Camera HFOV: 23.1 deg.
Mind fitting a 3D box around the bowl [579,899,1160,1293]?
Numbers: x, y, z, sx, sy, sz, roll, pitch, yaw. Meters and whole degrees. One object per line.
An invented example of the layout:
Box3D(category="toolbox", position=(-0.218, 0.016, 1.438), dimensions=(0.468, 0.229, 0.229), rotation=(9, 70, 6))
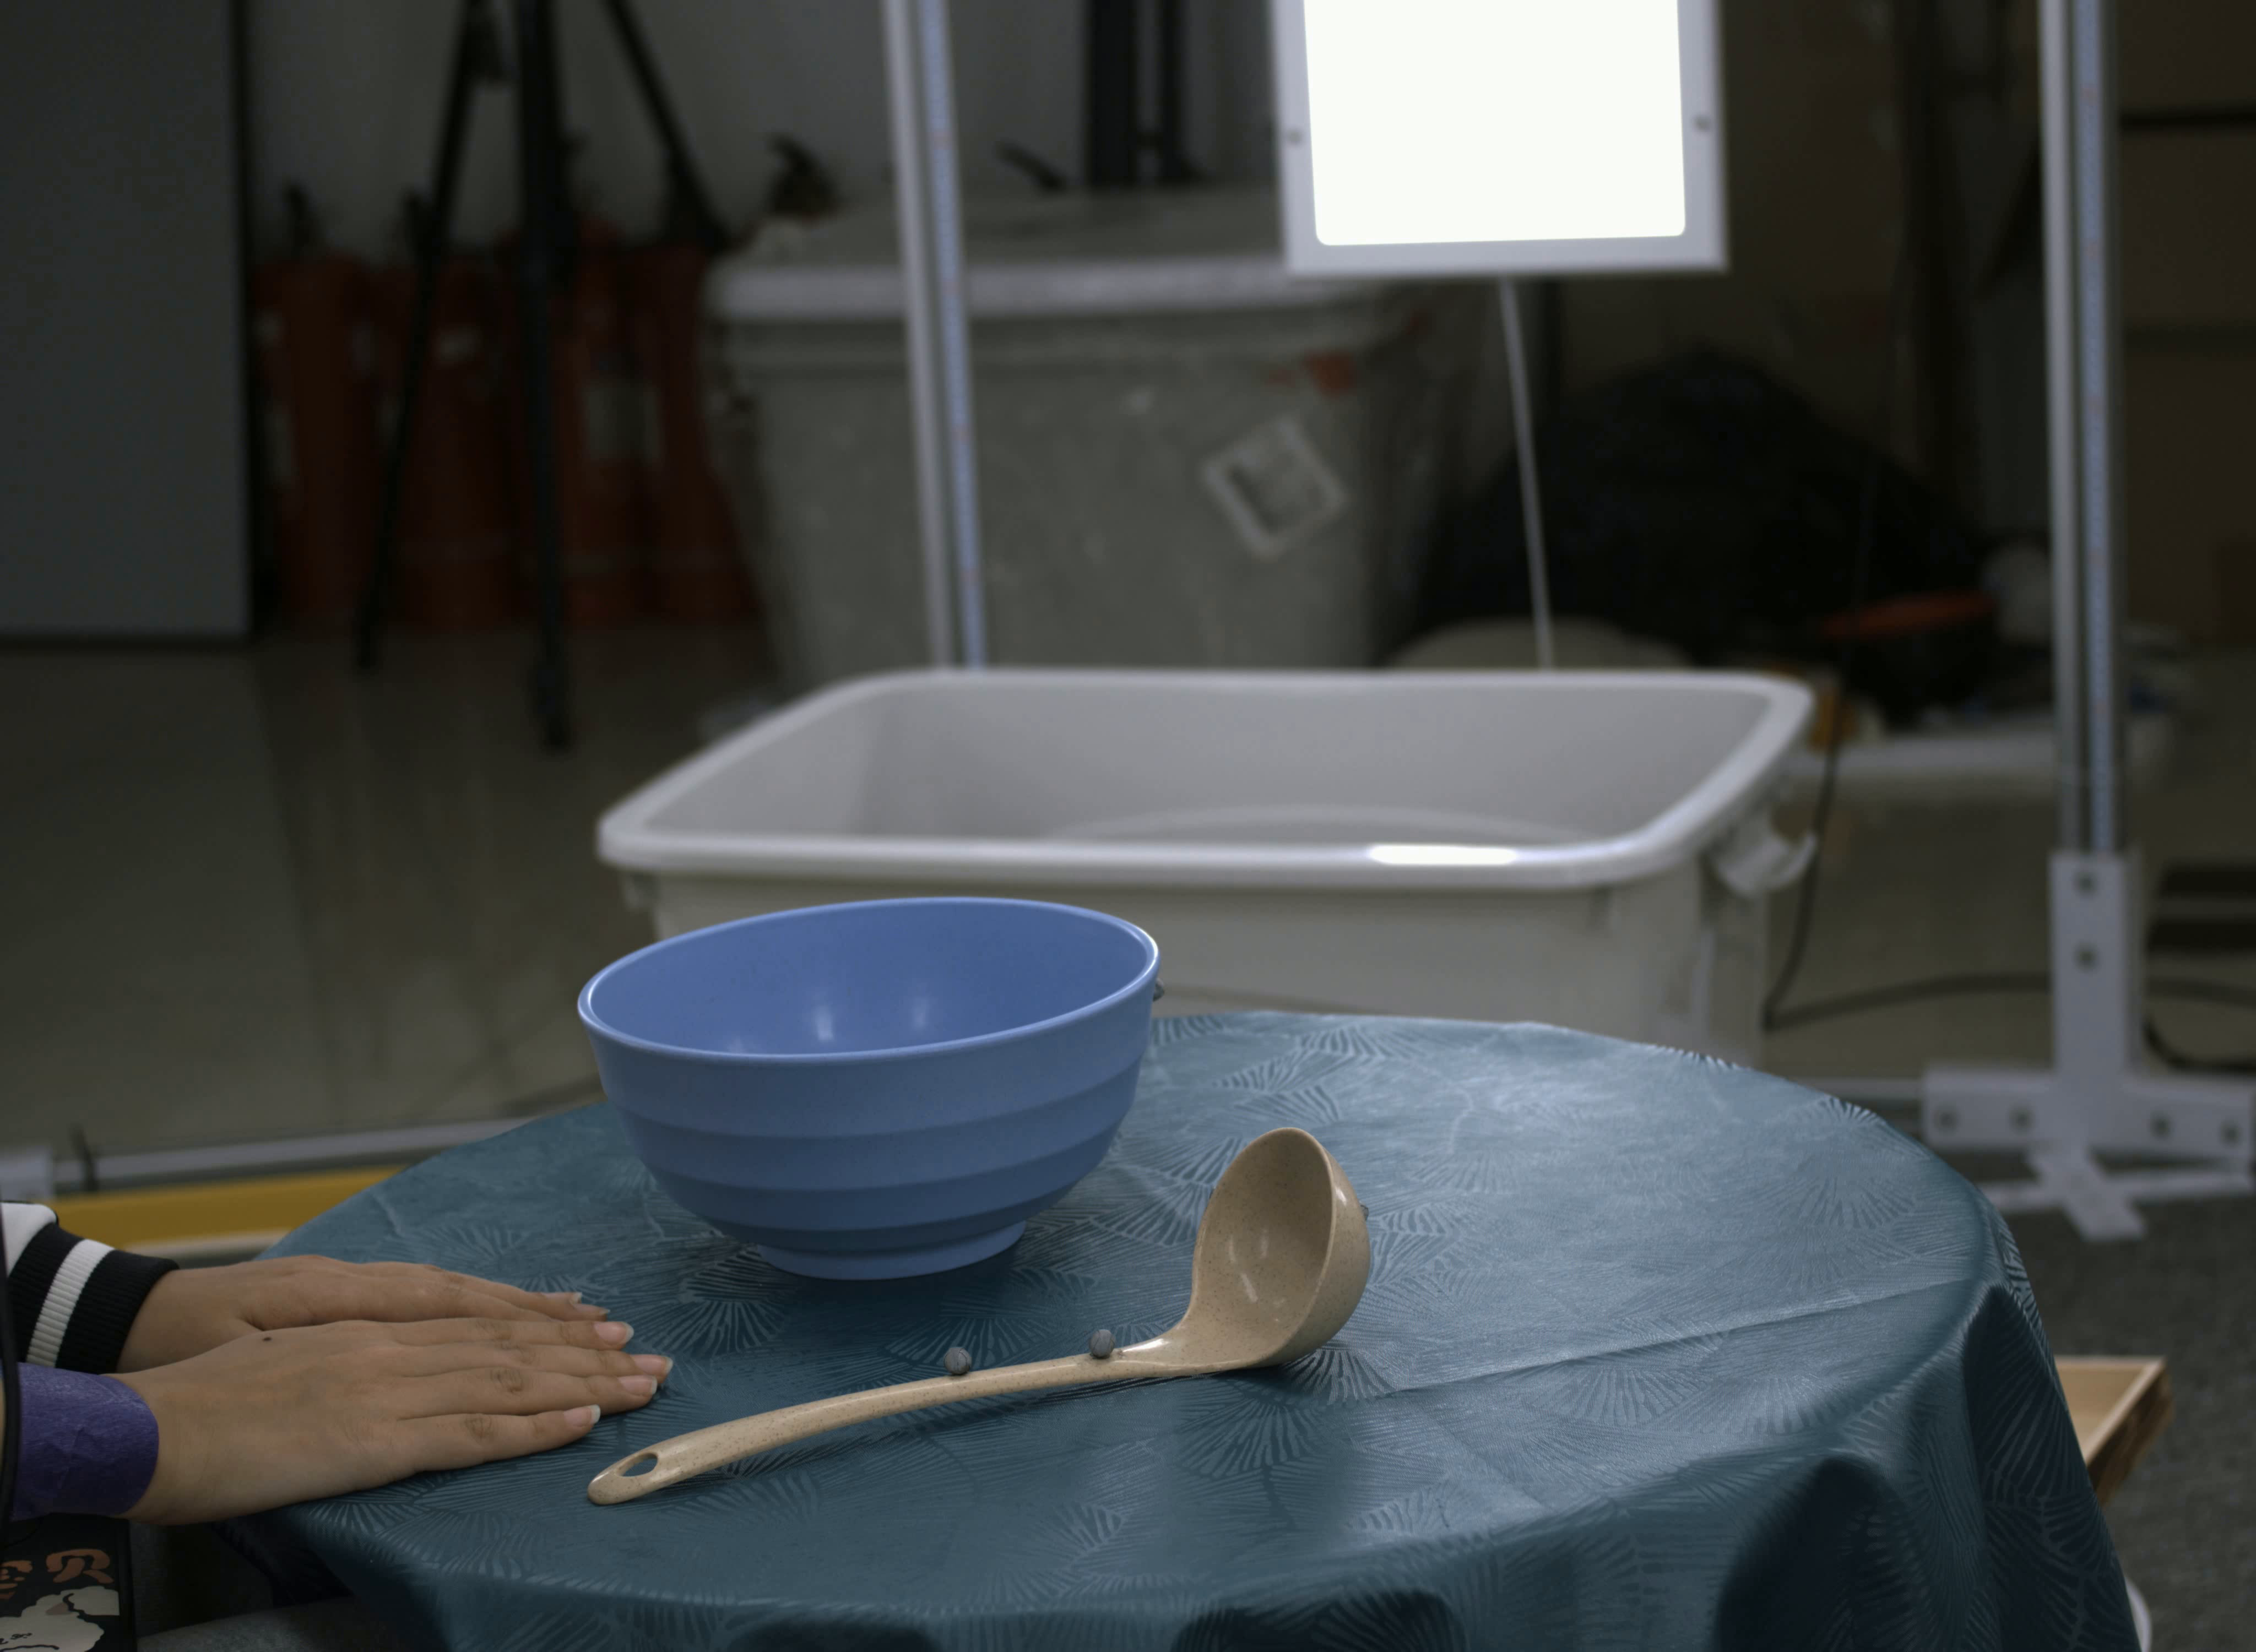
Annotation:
Box3D(category="bowl", position=(-0.083, 0.097, 1.862), dimensions=(0.196, 0.096, 0.196), rotation=(-5, 15, 0))

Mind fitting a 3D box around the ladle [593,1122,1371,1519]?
Box3D(category="ladle", position=(-0.045, 0.148, 1.675), dimensions=(0.249, 0.073, 0.073), rotation=(-11, 27, -22))
